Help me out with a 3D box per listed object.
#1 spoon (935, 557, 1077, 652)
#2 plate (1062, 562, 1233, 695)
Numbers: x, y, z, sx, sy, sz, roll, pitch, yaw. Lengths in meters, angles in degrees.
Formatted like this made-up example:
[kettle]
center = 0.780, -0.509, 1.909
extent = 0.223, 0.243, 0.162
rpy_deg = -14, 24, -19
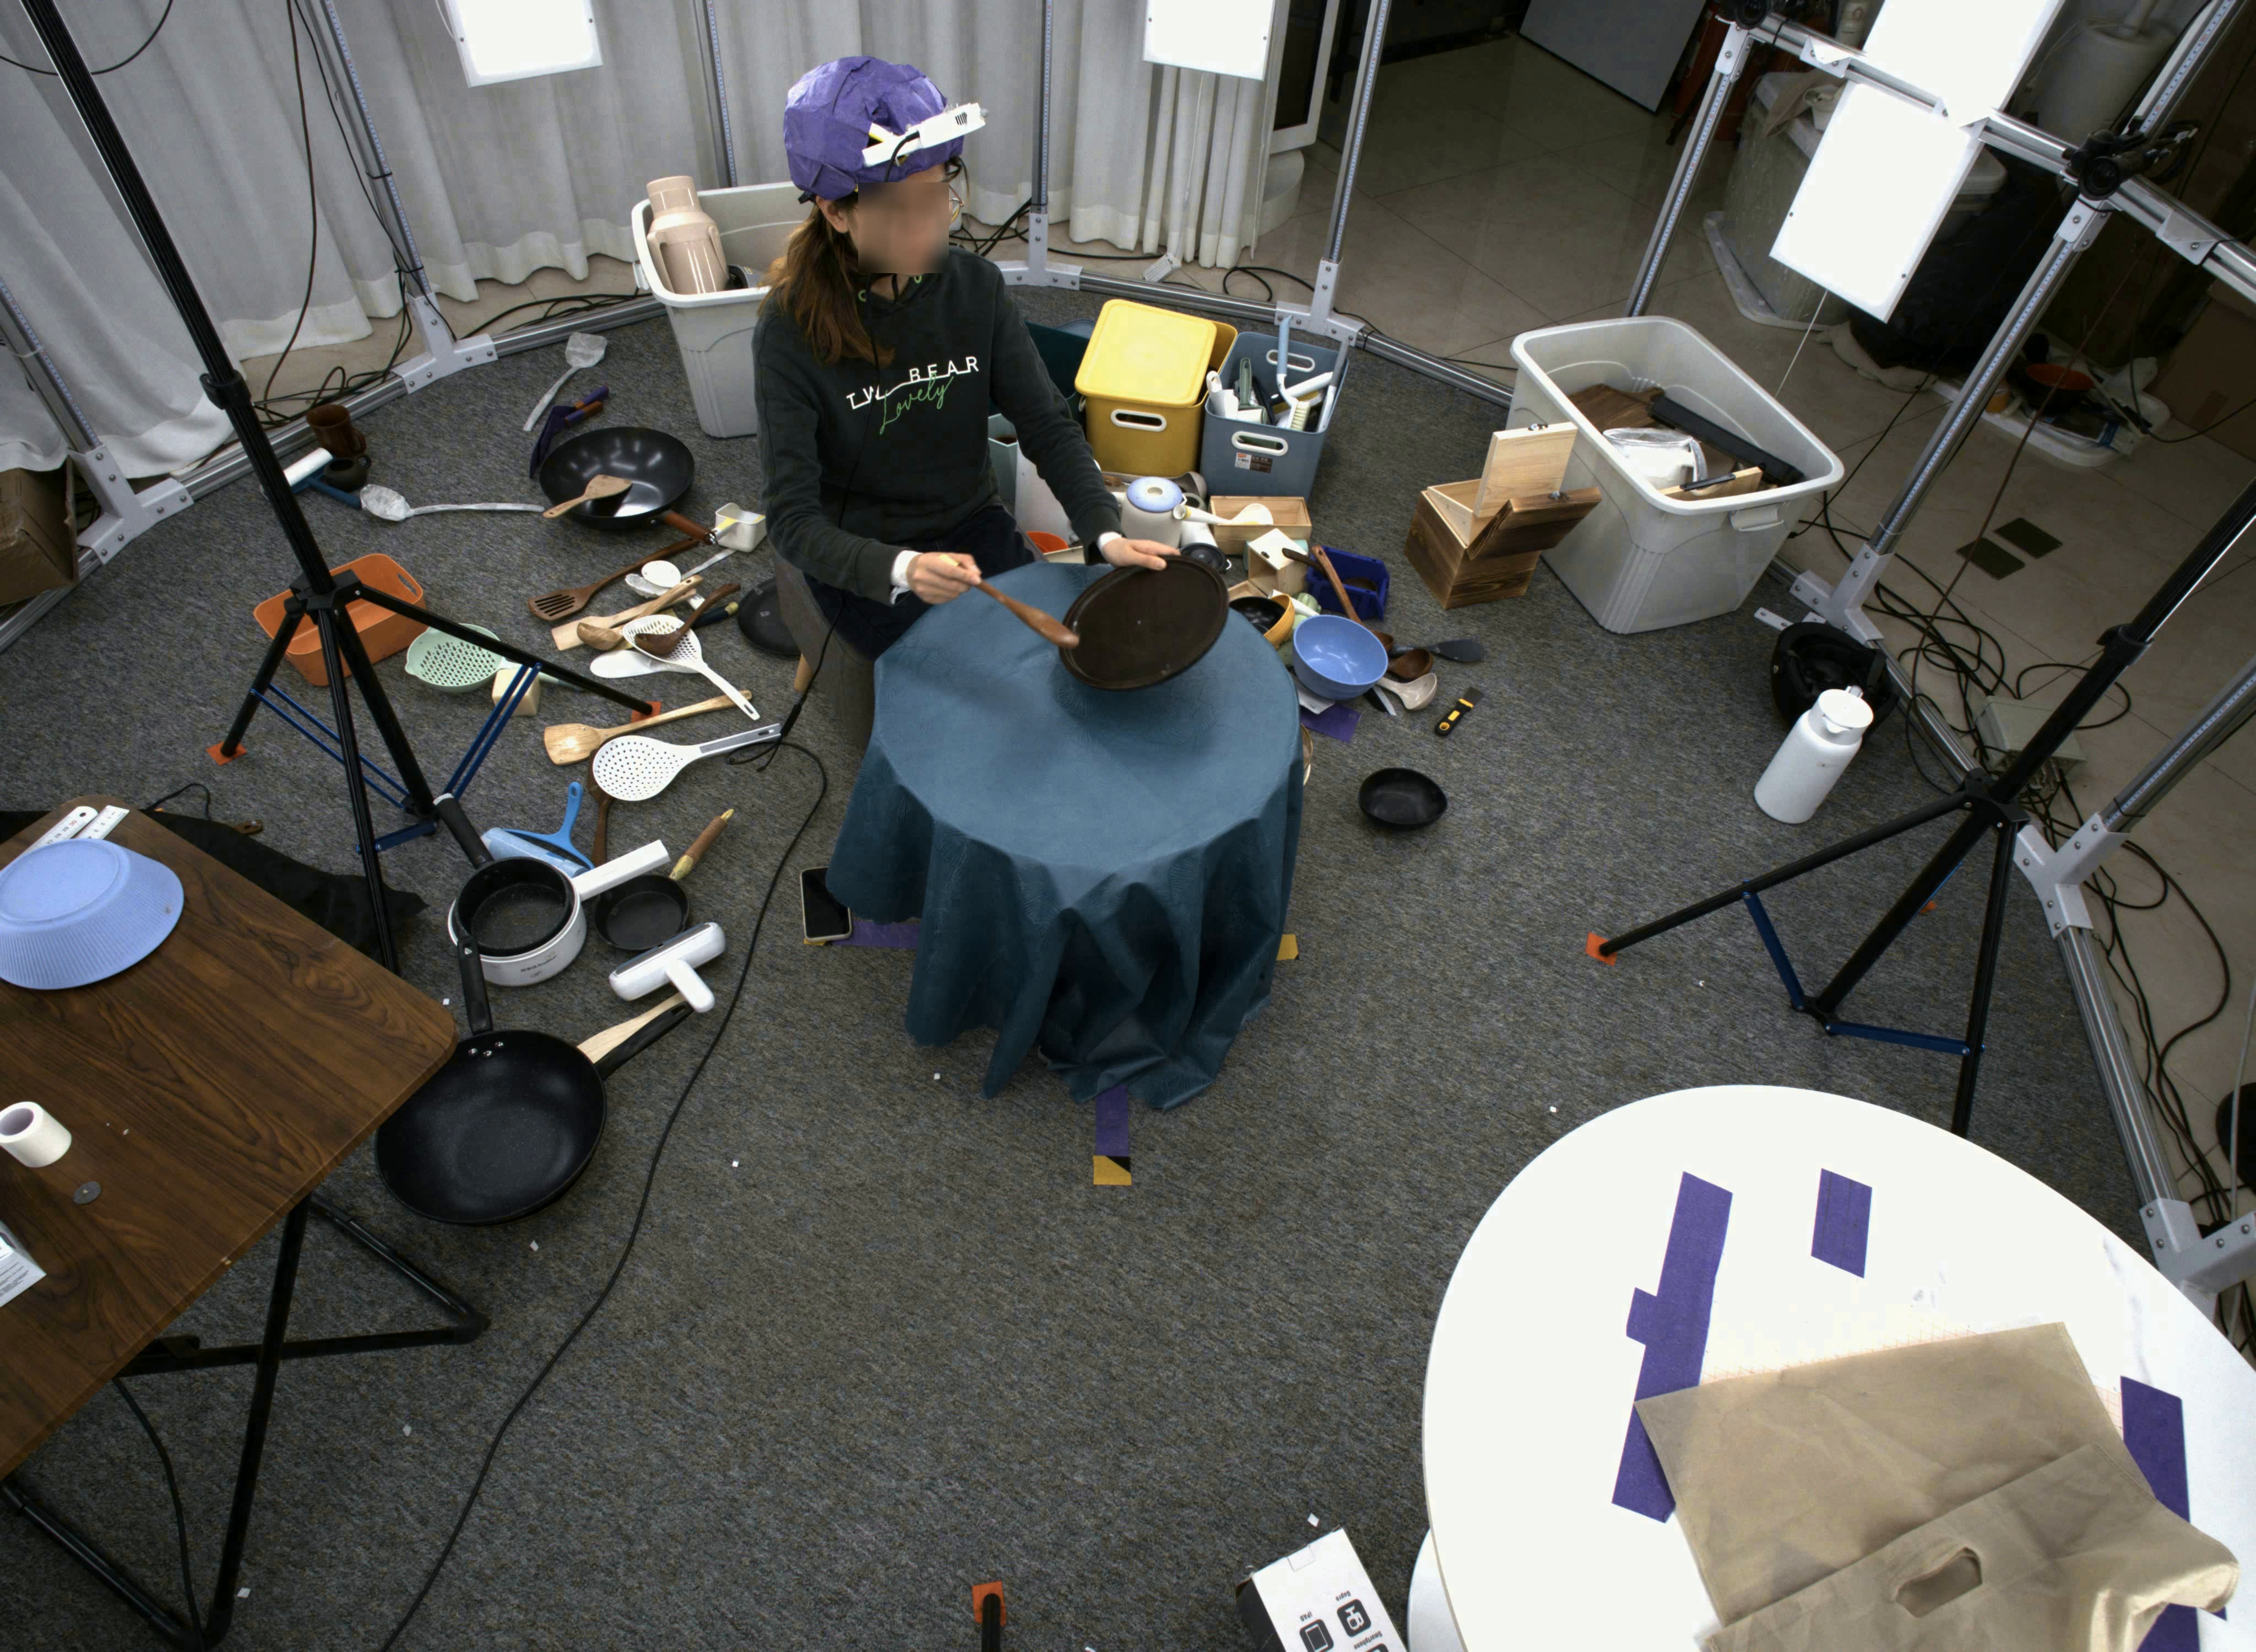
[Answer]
[spoon]
center = -0.161, -0.292, 1.711
extent = 0.214, 0.017, 0.077
rpy_deg = 32, 24, -13
[plate]
center = 0.027, -0.281, 1.816
extent = 0.254, 0.028, 0.261
rpy_deg = -12, 50, 14
